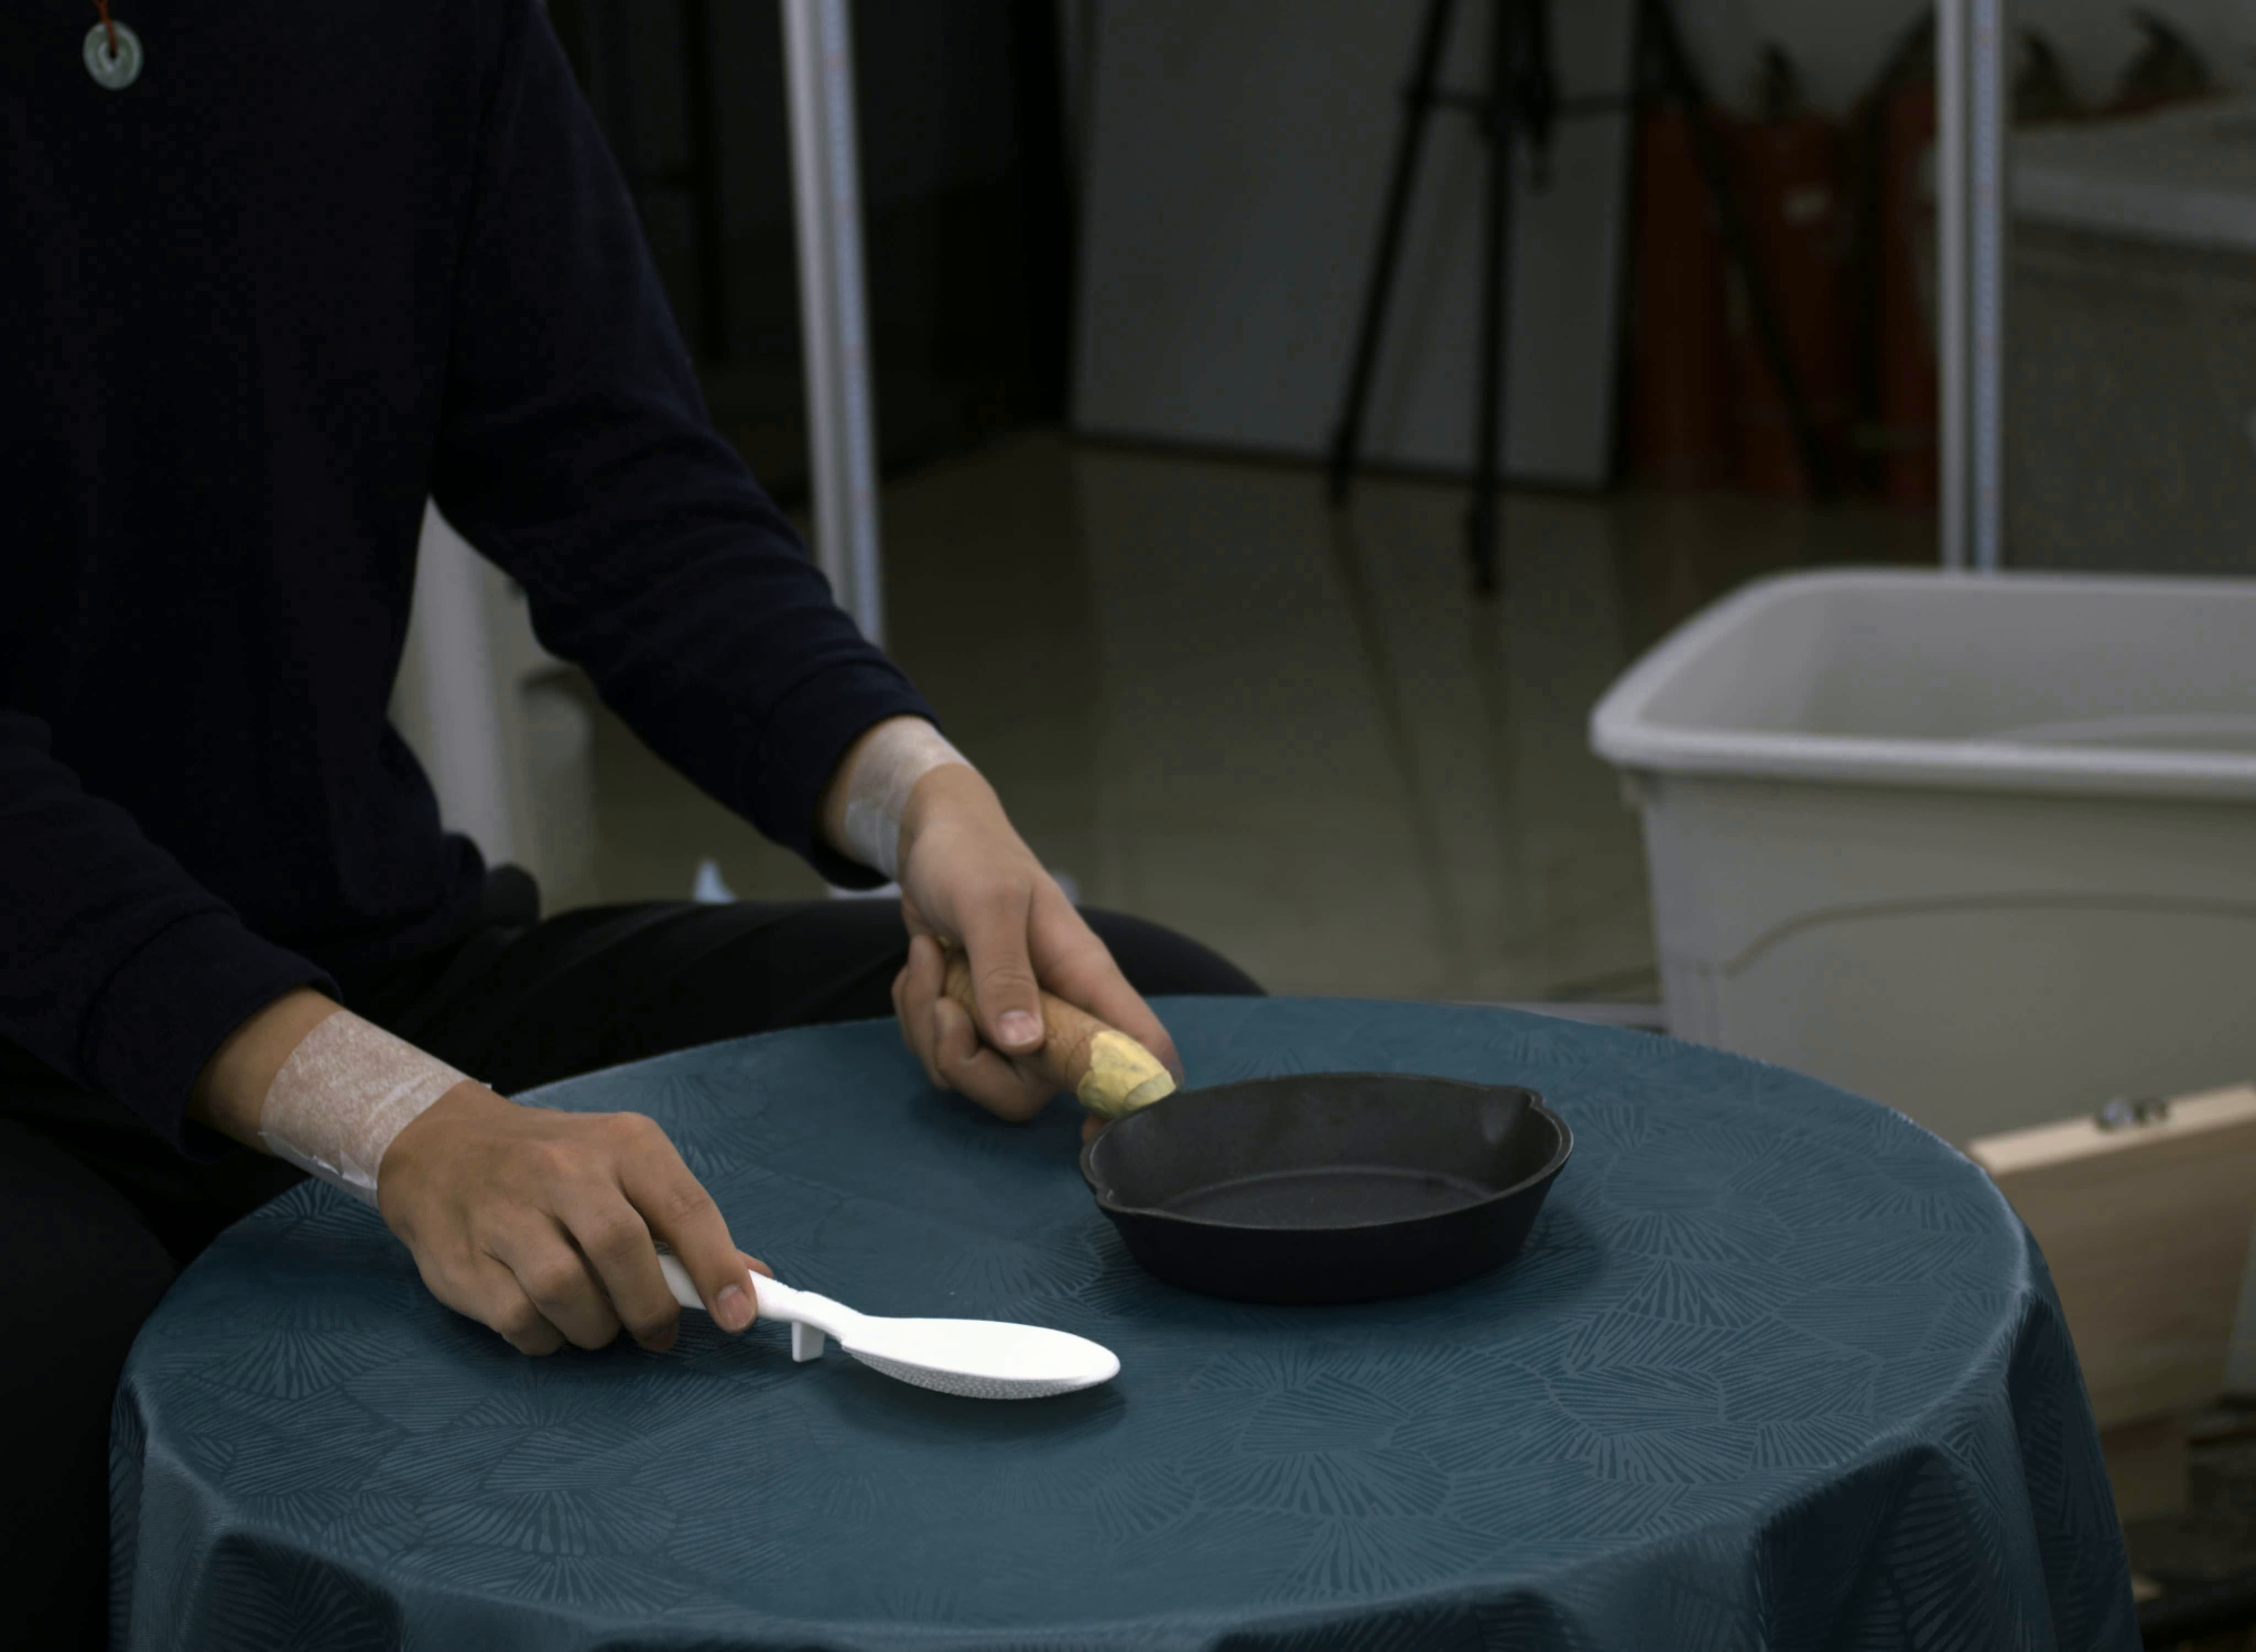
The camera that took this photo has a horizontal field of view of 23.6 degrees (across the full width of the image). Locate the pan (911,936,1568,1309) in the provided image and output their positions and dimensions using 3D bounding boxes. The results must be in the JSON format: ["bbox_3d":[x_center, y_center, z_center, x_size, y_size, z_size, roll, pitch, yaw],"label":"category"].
[{"bbox_3d":[0.018,0.093,1.772,0.165,0.050,0.328,-12,18,-29],"label":"pan"}]

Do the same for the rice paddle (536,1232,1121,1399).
[{"bbox_3d":[-0.090,0.149,1.624,0.206,0.030,0.067,5,8,35],"label":"rice paddle"}]
